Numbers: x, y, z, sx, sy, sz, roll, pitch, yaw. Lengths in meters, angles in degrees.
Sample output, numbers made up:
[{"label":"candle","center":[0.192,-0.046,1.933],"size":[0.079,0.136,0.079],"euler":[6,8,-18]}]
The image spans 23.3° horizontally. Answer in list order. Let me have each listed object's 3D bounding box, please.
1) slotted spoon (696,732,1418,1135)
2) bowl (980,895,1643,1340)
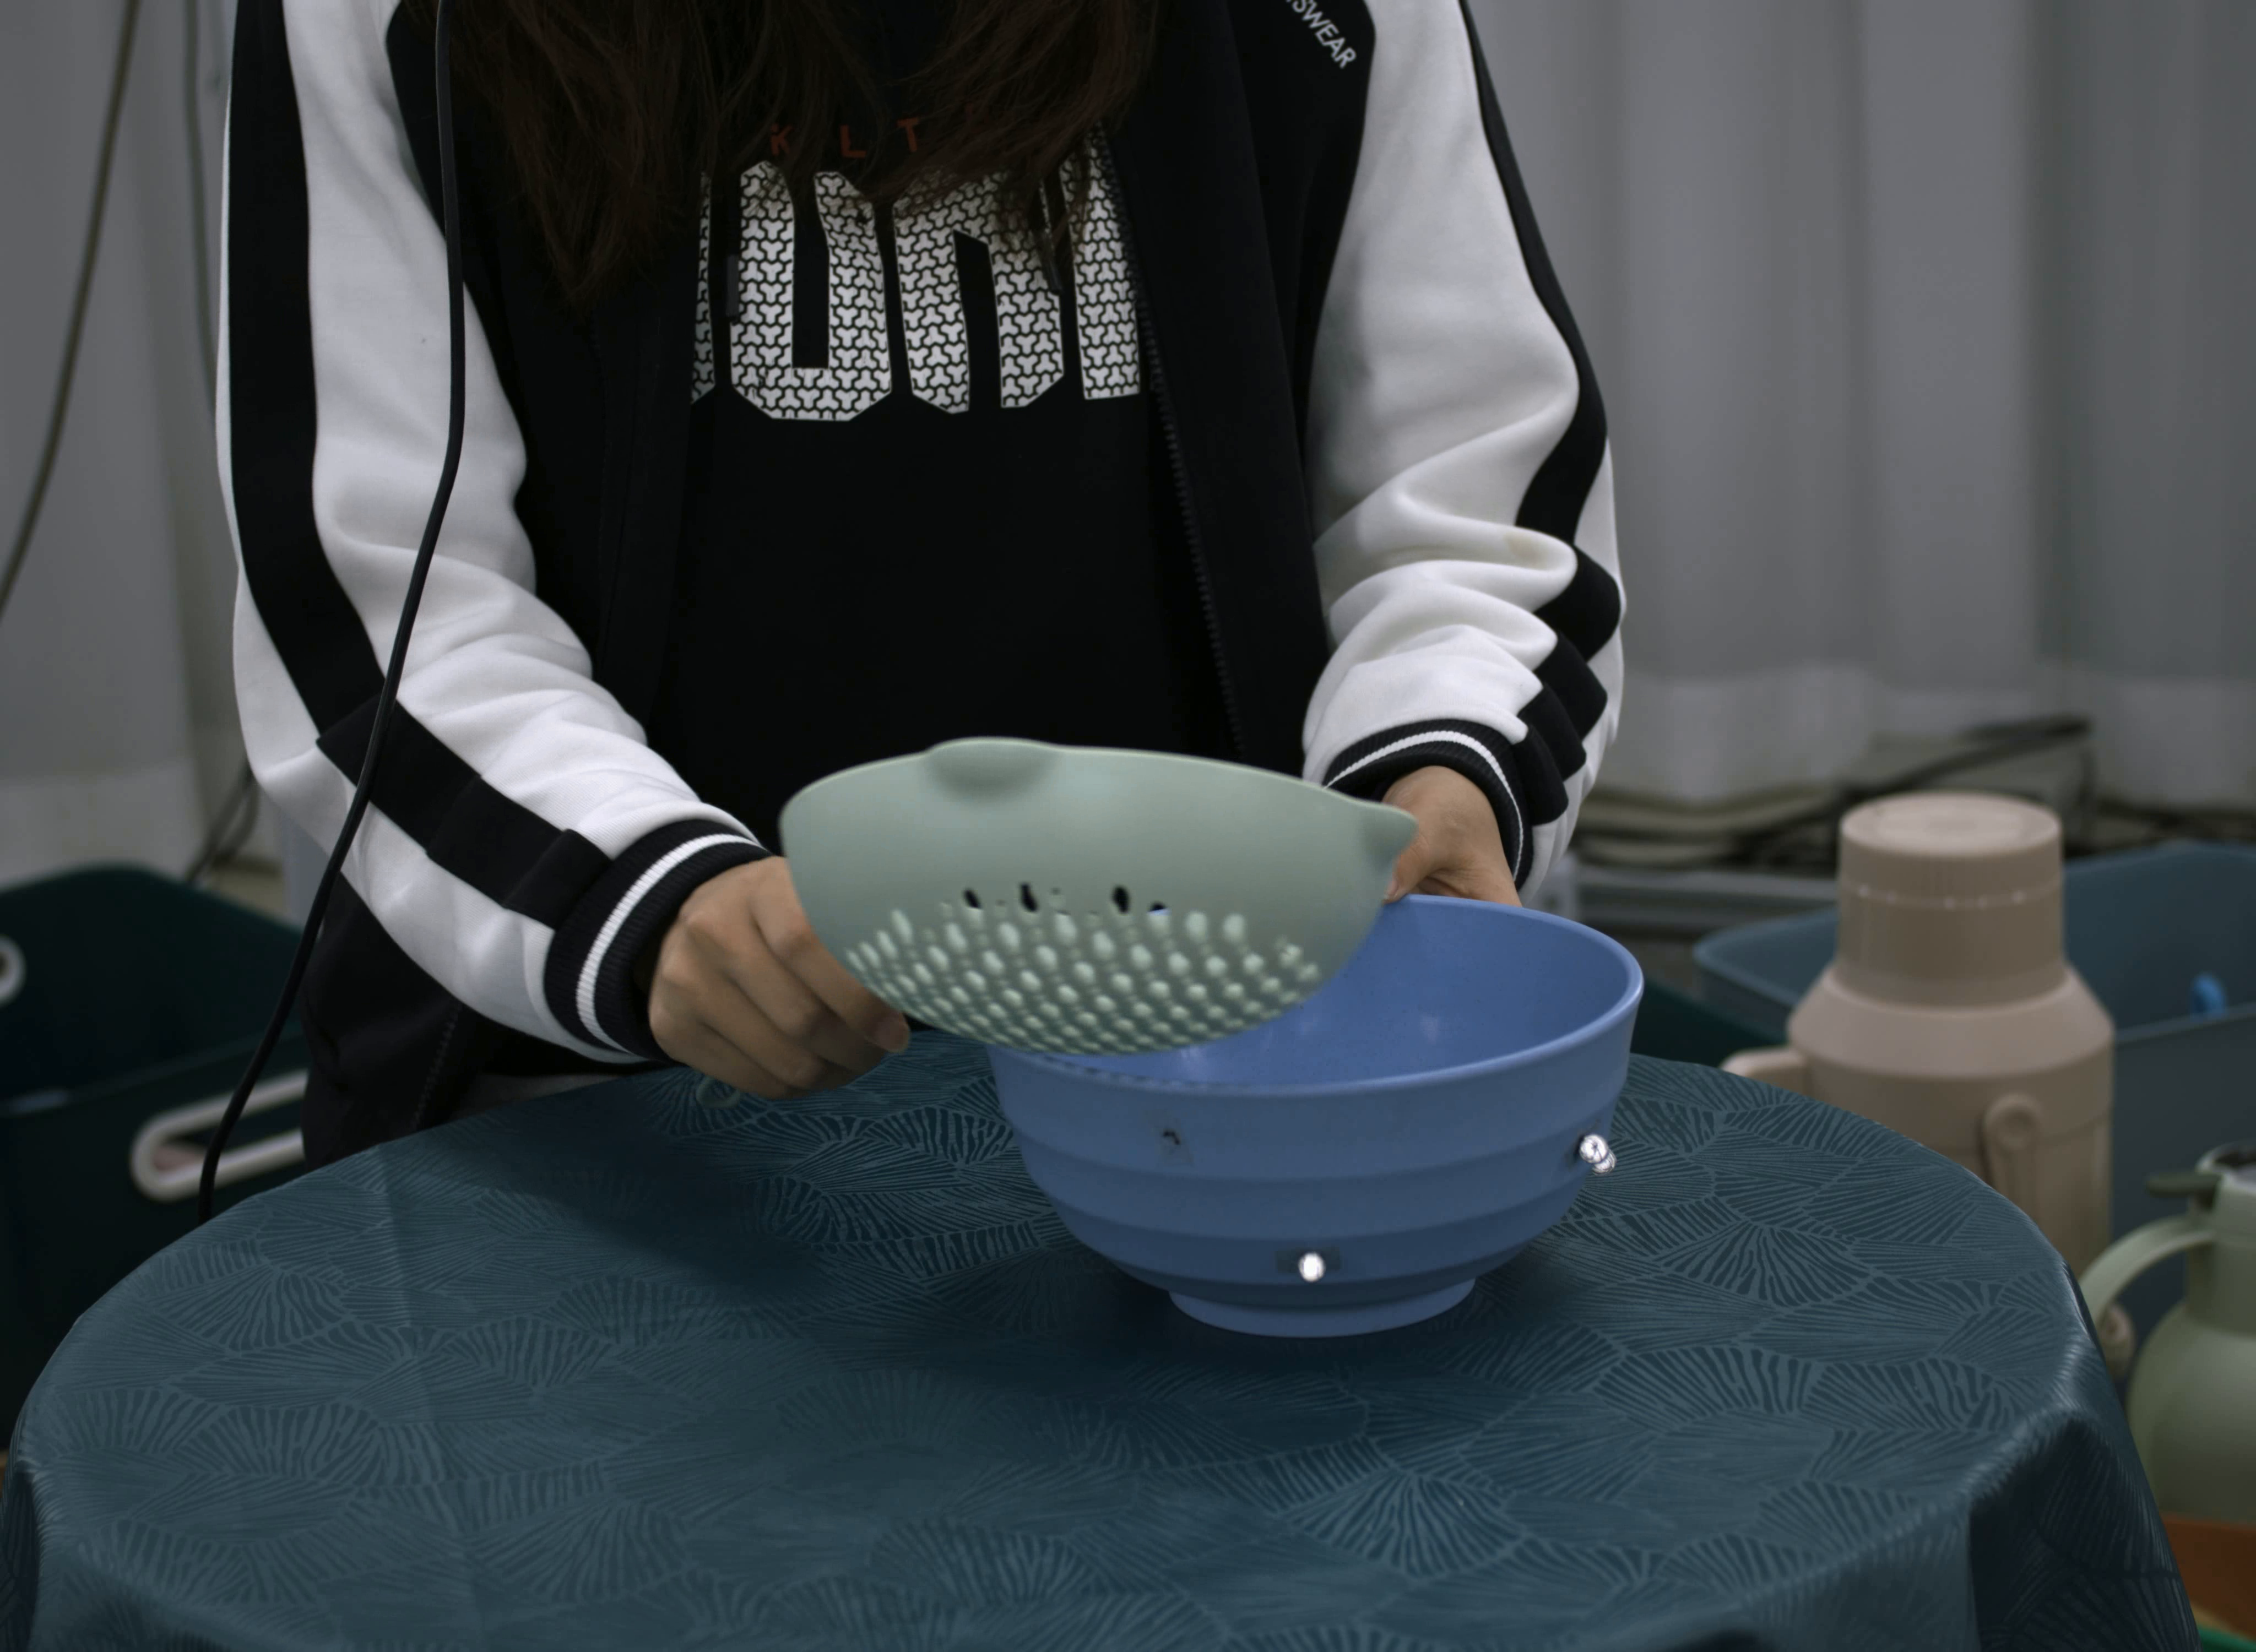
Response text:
[{"label":"slotted spoon","center":[-0.054,0.039,1.573],"size":[0.168,0.076,0.358],"euler":[10,-11,-24]},{"label":"bowl","center":[0.055,0.091,1.609],"size":[0.196,0.095,0.198],"euler":[-4,15,1]}]
